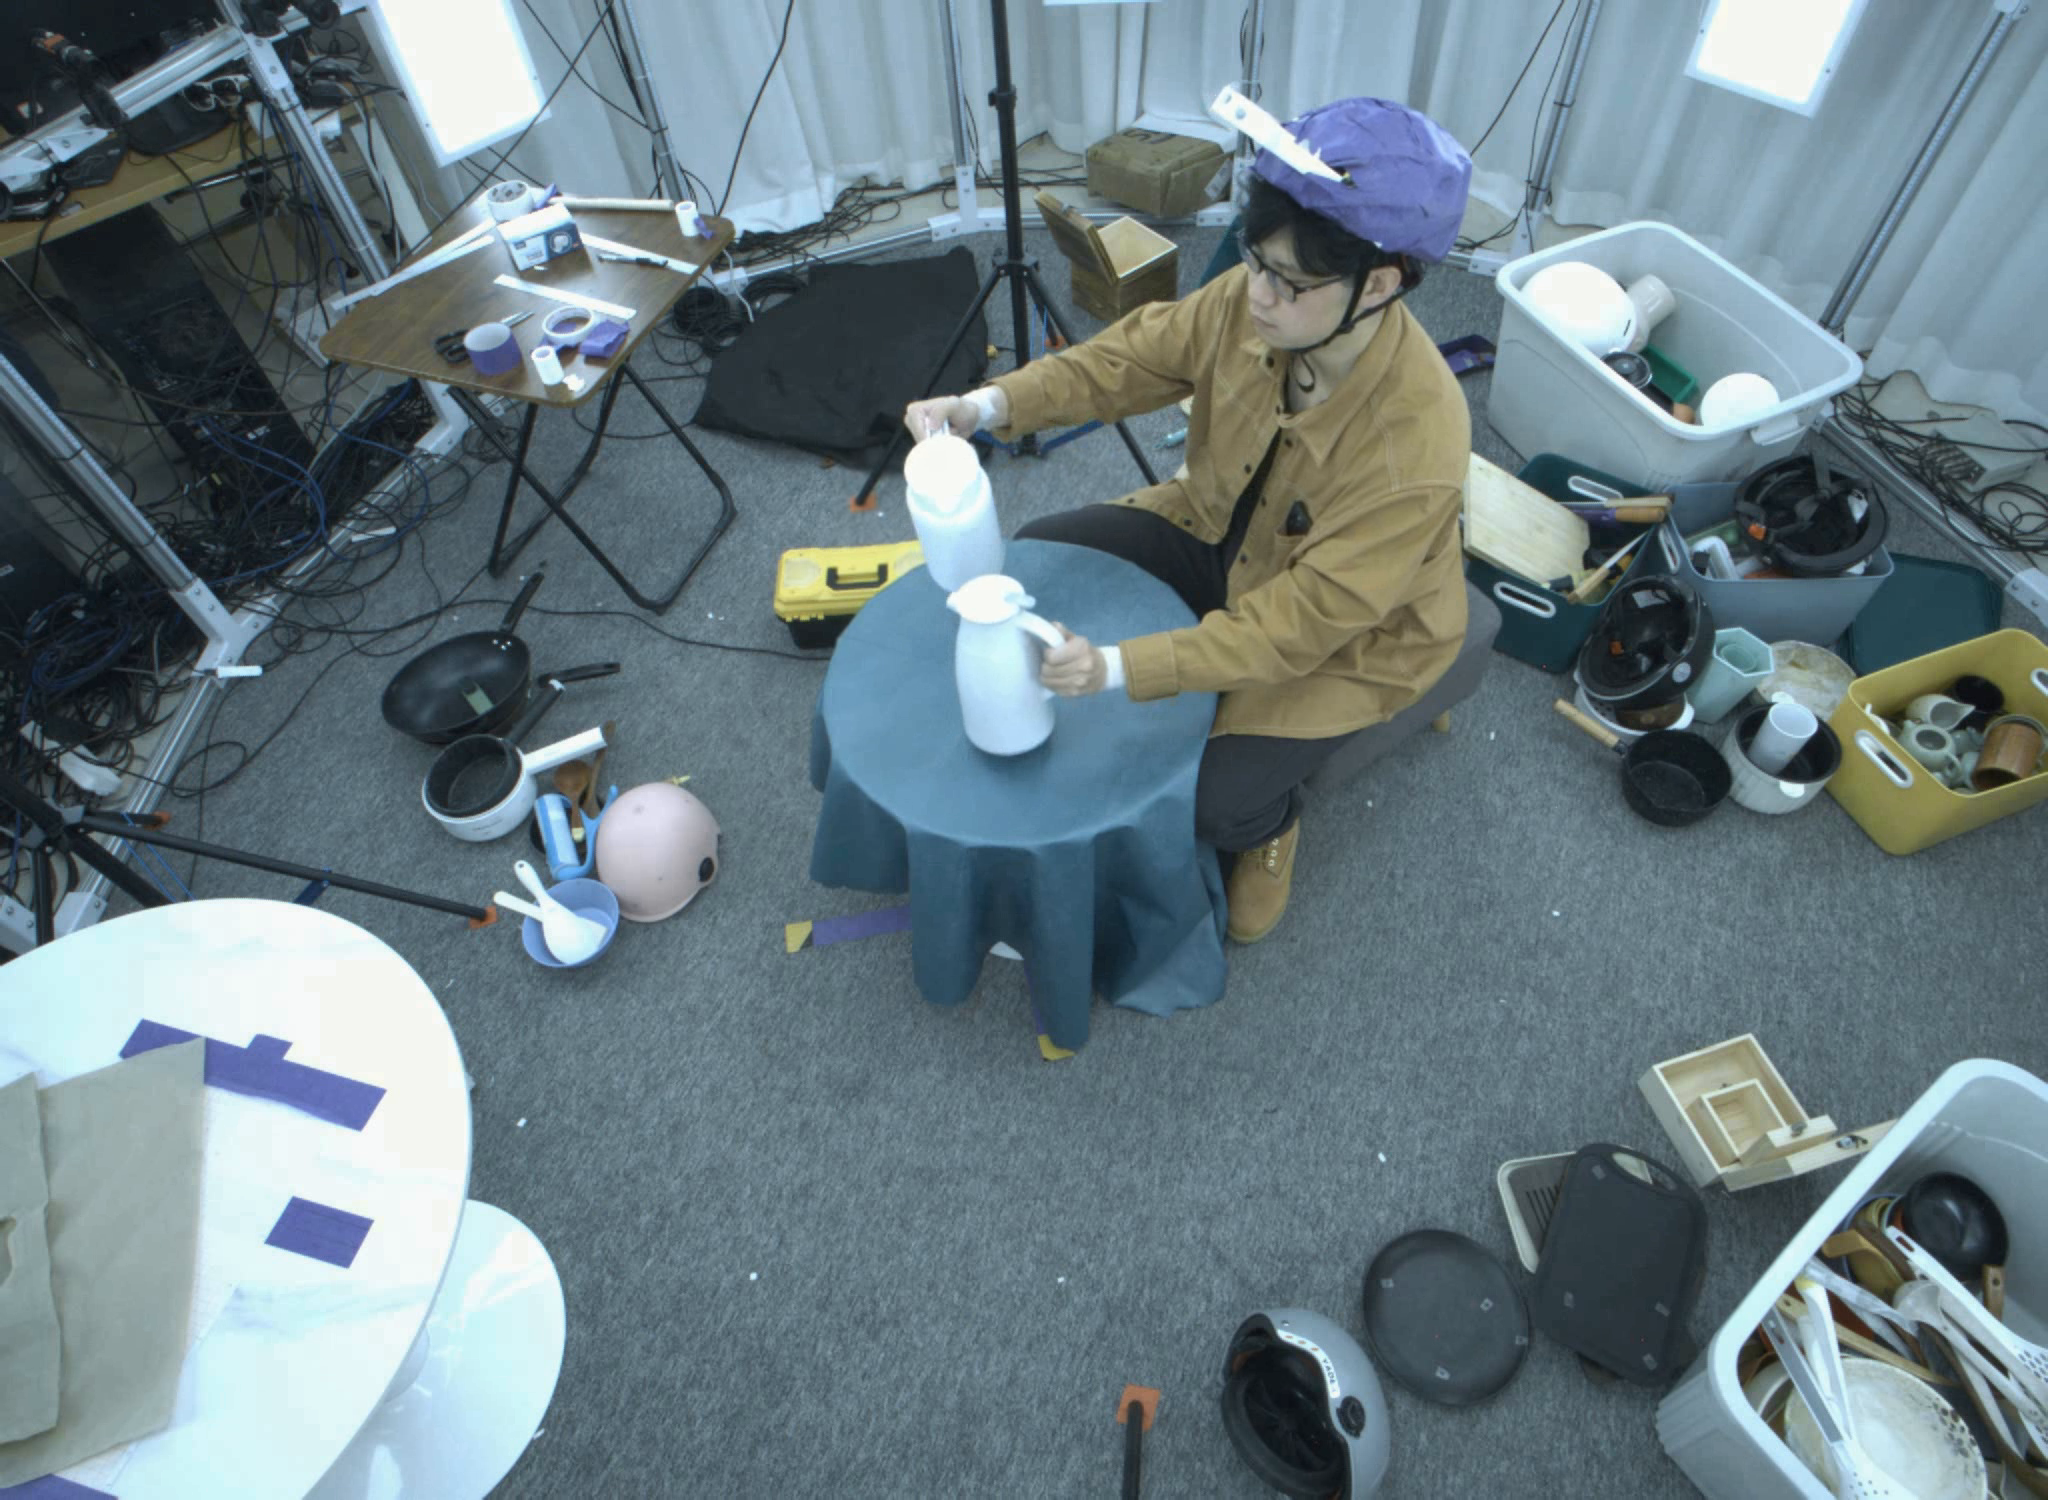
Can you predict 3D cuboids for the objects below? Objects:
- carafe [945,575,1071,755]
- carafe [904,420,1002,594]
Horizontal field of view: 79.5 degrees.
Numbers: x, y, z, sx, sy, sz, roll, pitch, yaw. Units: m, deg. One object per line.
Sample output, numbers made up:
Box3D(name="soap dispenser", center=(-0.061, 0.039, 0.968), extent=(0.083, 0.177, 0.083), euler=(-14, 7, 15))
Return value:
Box3D(name="carafe", center=(-0.016, -0.118, 1.670), extent=(0.166, 0.251, 0.132), euler=(14, 53, 16))
Box3D(name="carafe", center=(-0.105, -0.344, 1.732), extent=(0.124, 0.271, 0.171), euler=(-10, 70, 3))
